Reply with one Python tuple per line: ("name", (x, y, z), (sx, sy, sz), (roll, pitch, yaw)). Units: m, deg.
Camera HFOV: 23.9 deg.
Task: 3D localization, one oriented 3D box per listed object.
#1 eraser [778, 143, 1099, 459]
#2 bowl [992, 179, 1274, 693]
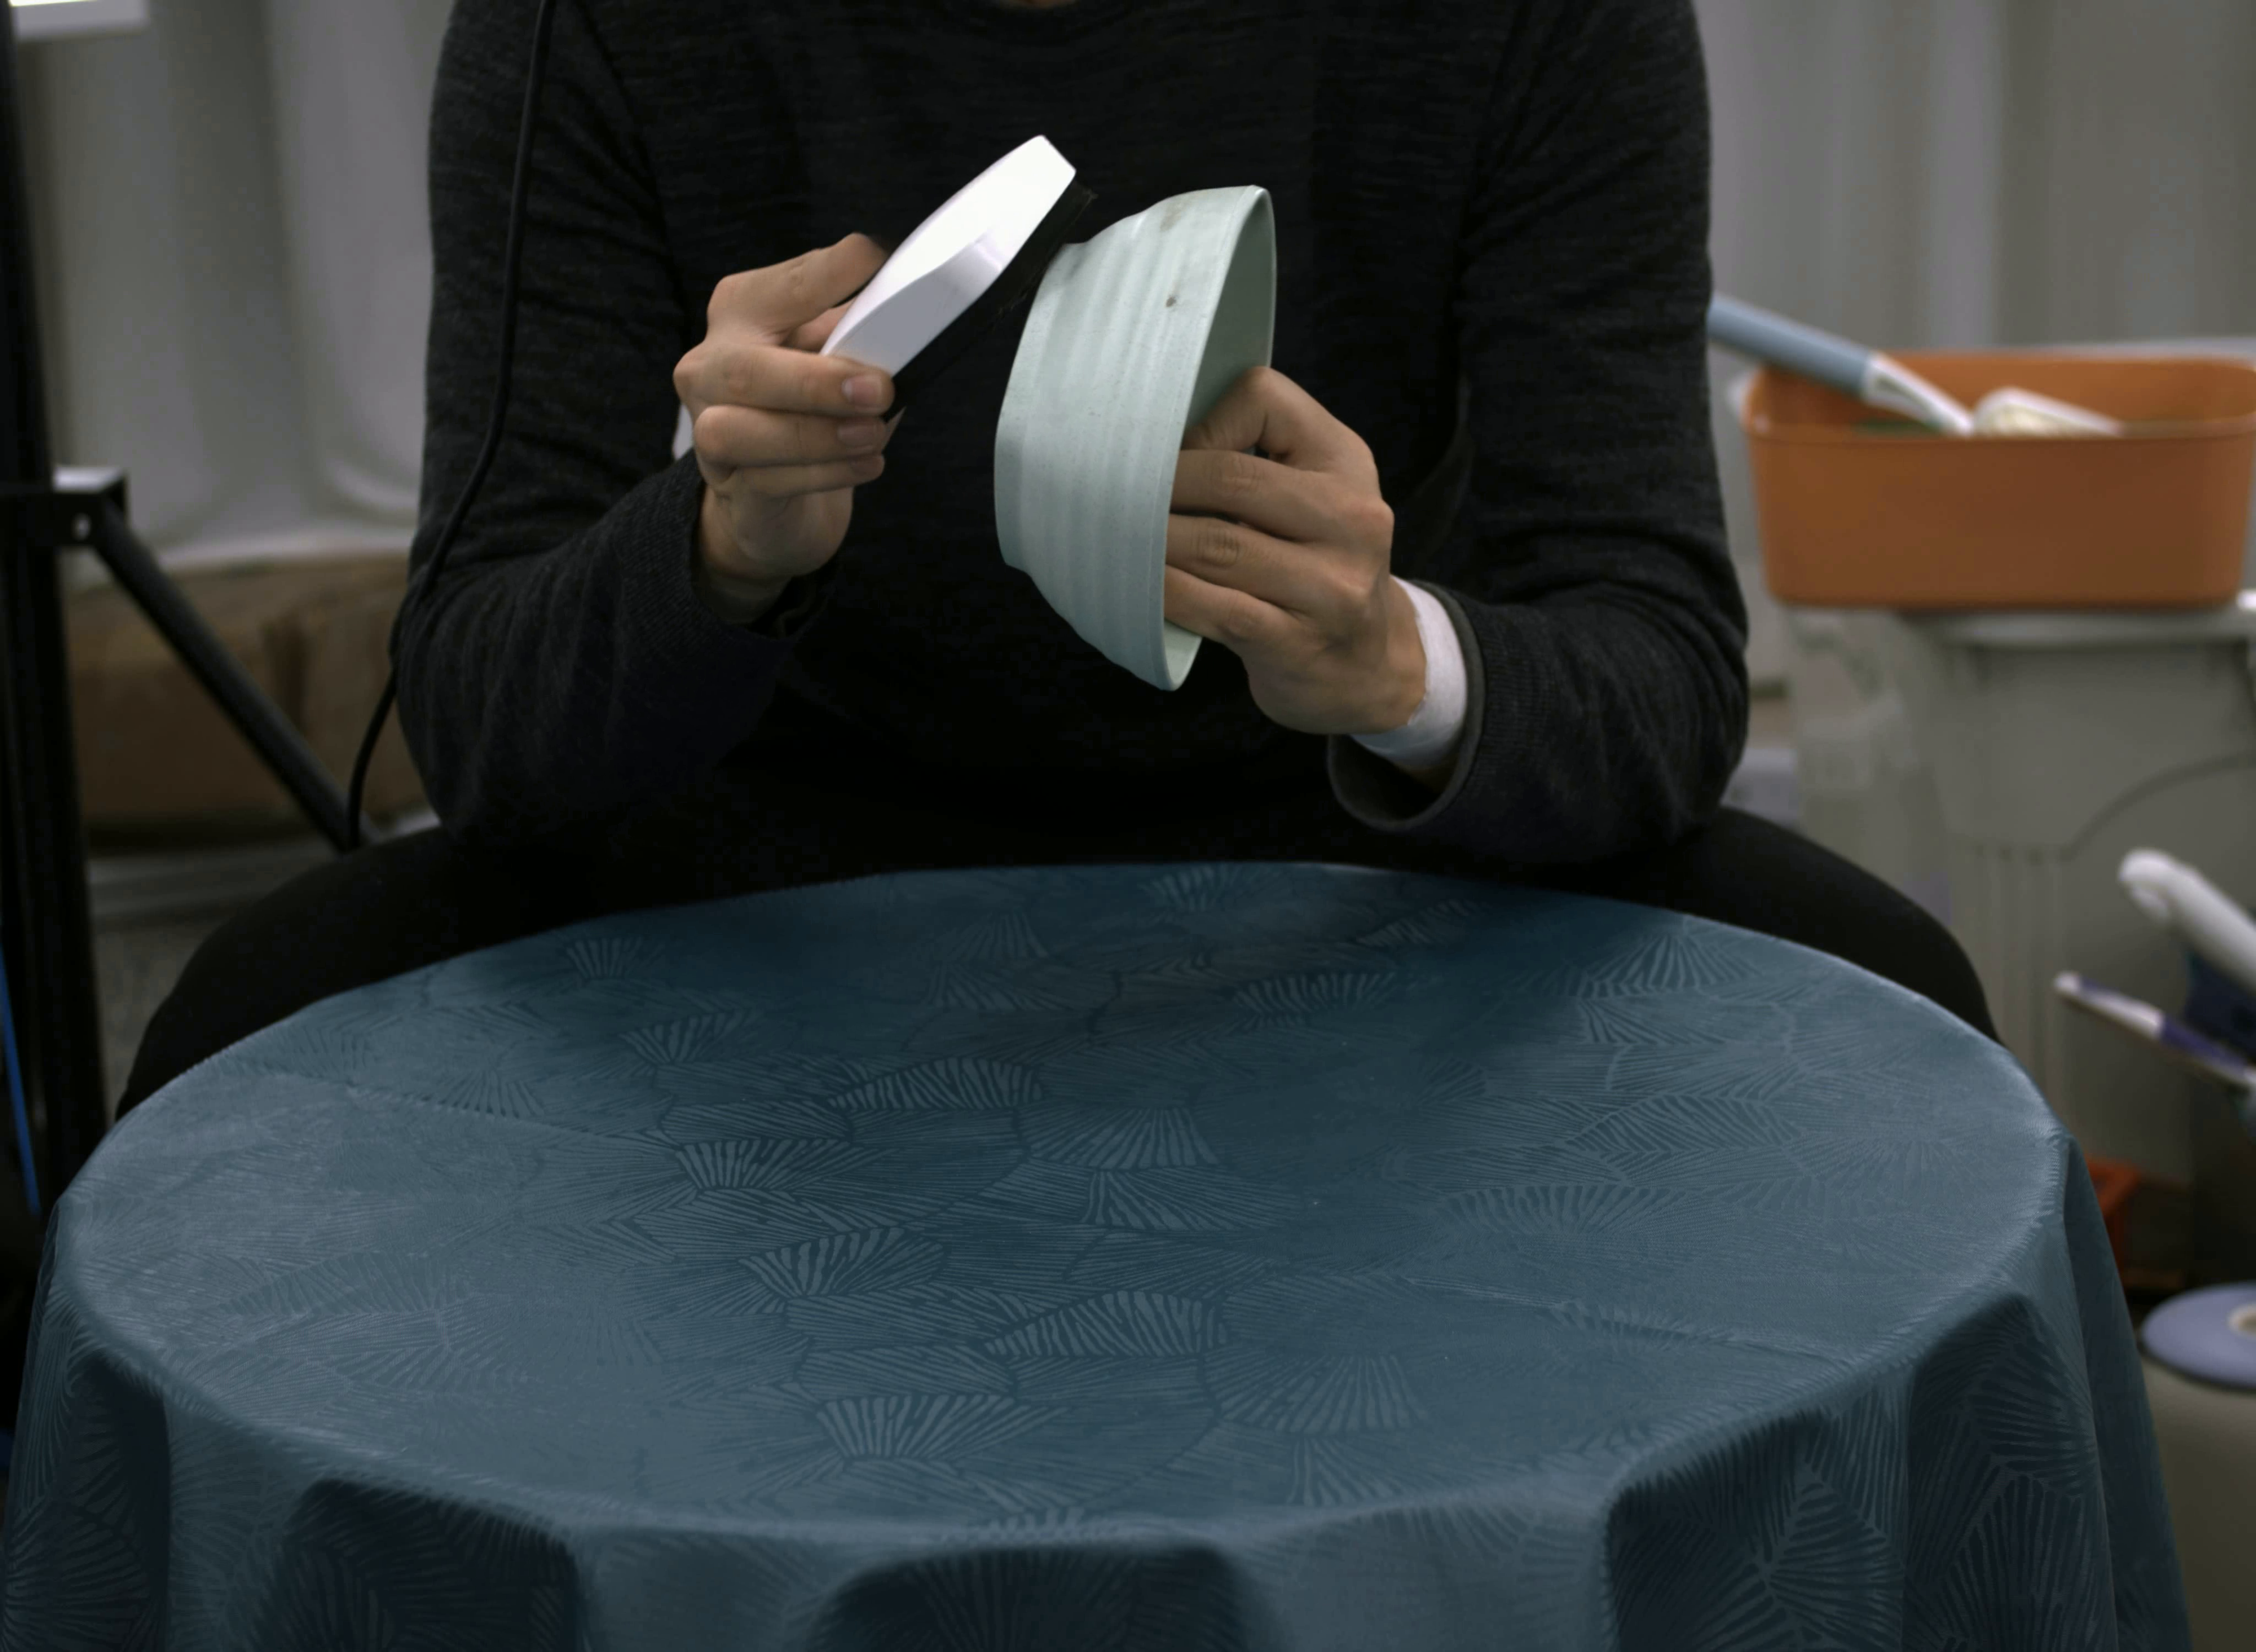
("eraser", (-0.058, -0.158, 1.596), (0.063, 0.034, 0.133), (-55, 12, -32))
("bowl", (-0.001, -0.118, 1.564), (0.059, 0.151, 0.150), (11, 18, 10))
